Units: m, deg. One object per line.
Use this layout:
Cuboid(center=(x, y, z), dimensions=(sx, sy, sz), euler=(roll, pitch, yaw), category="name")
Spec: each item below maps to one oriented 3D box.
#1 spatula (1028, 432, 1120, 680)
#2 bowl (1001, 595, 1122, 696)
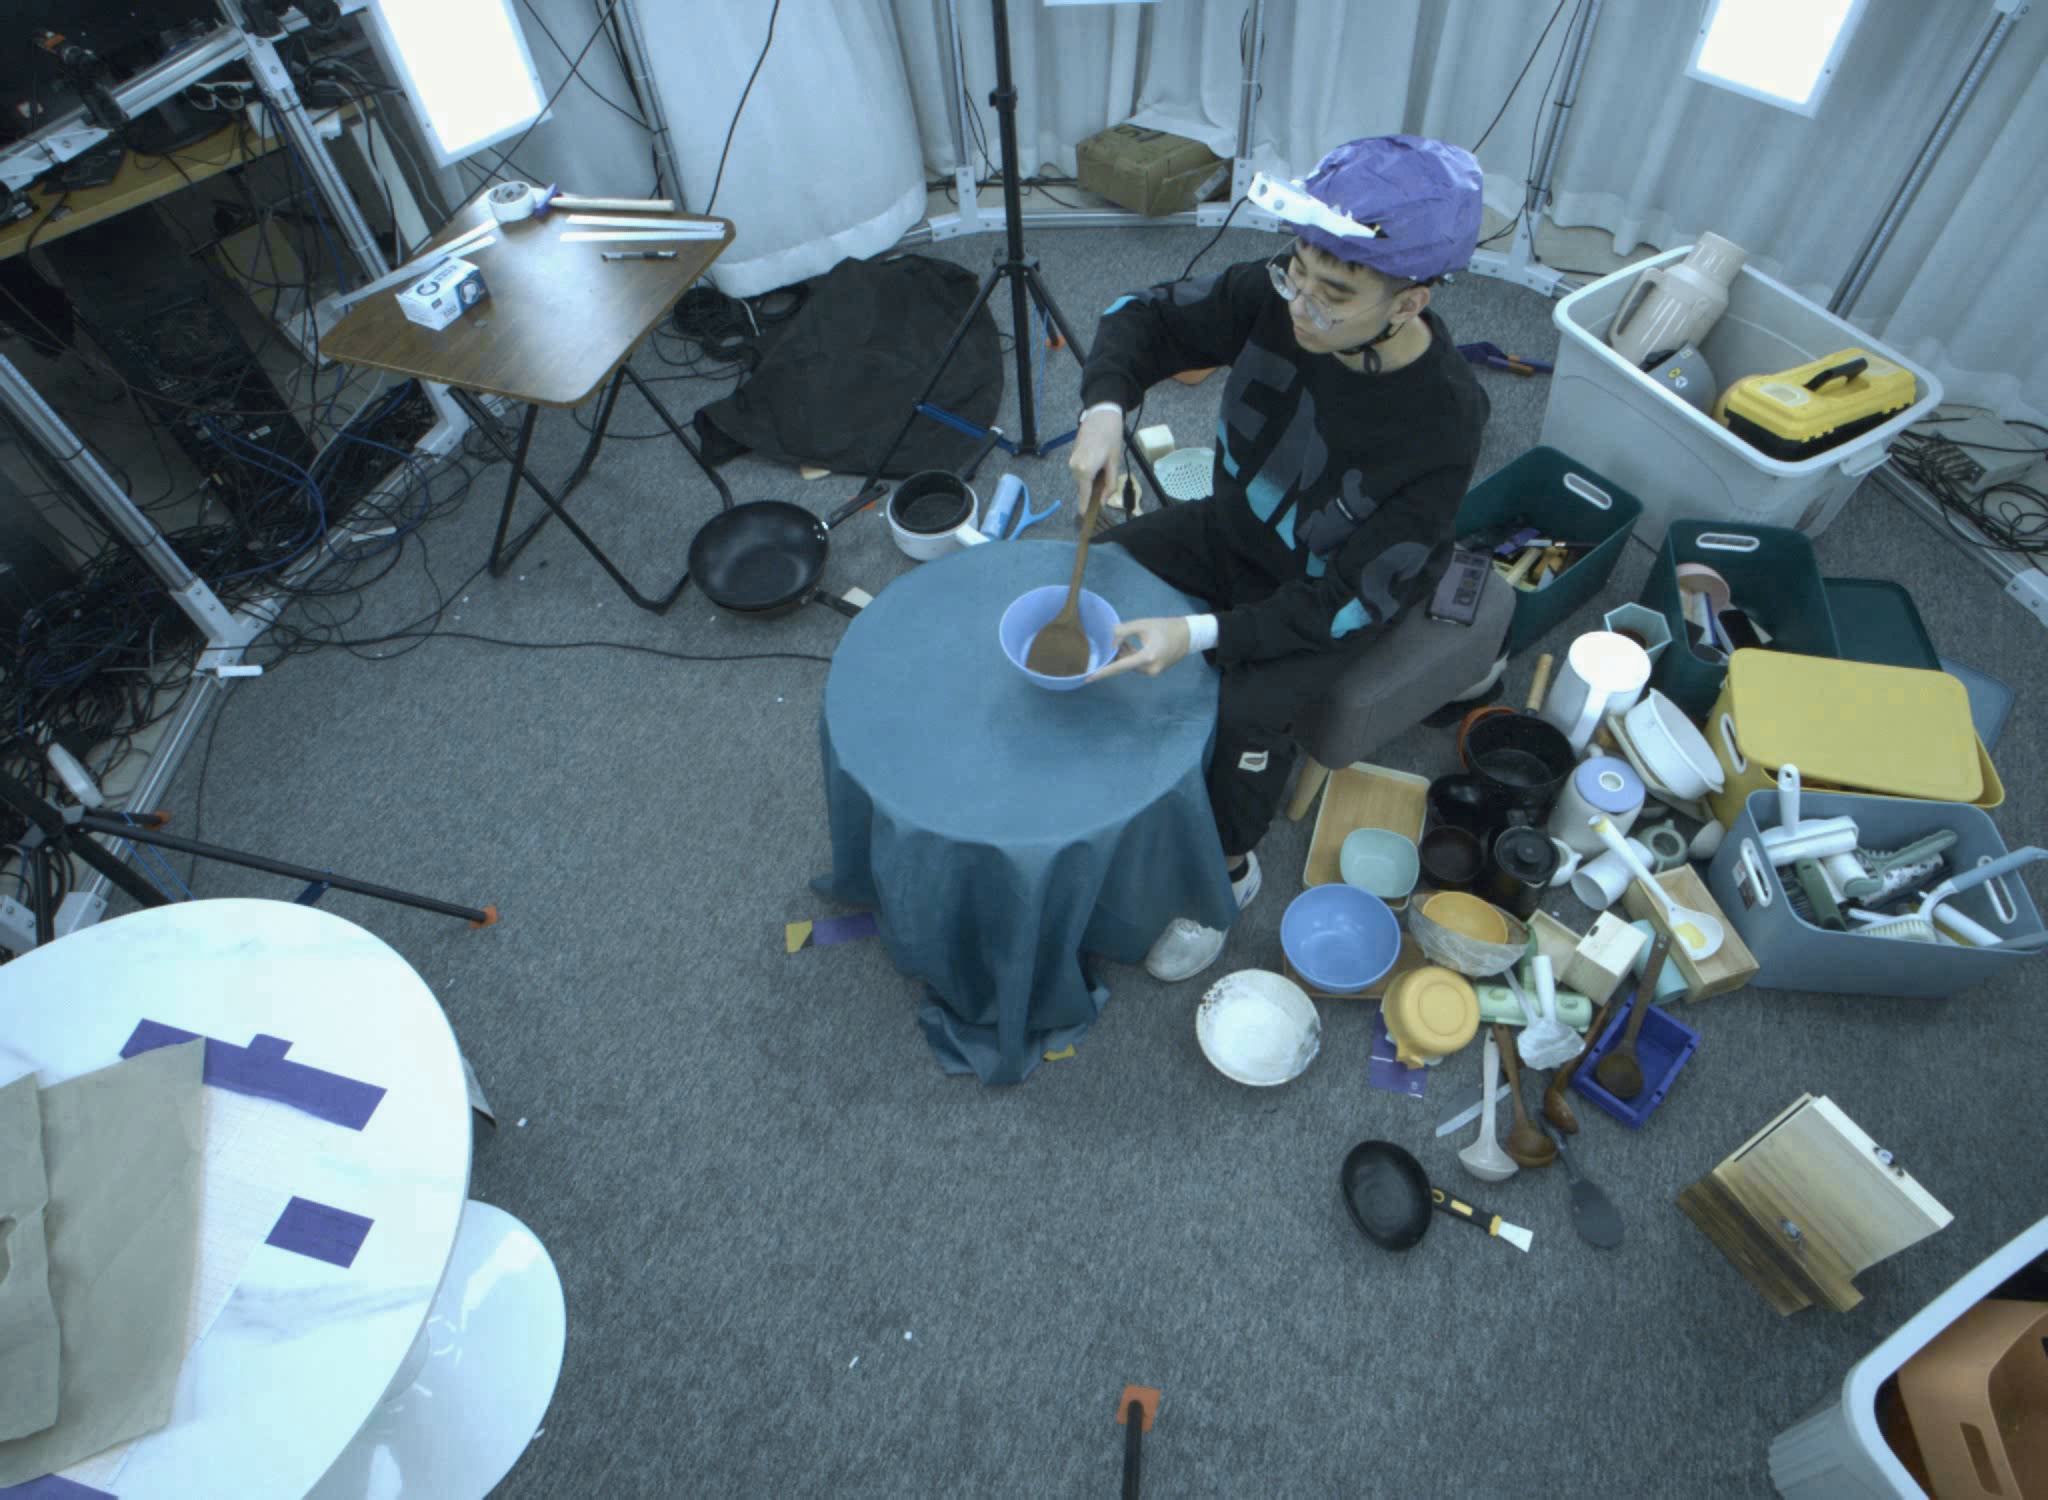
Cuboid(center=(0.087, -0.279, 1.787), dimensions=(0.095, 0.016, 0.386), euler=(13, 94, 15), category="spatula")
Cuboid(center=(0.056, -0.144, 1.802), dimensions=(0.176, 0.071, 0.174), euler=(-1, 53, 2), category="bowl")
